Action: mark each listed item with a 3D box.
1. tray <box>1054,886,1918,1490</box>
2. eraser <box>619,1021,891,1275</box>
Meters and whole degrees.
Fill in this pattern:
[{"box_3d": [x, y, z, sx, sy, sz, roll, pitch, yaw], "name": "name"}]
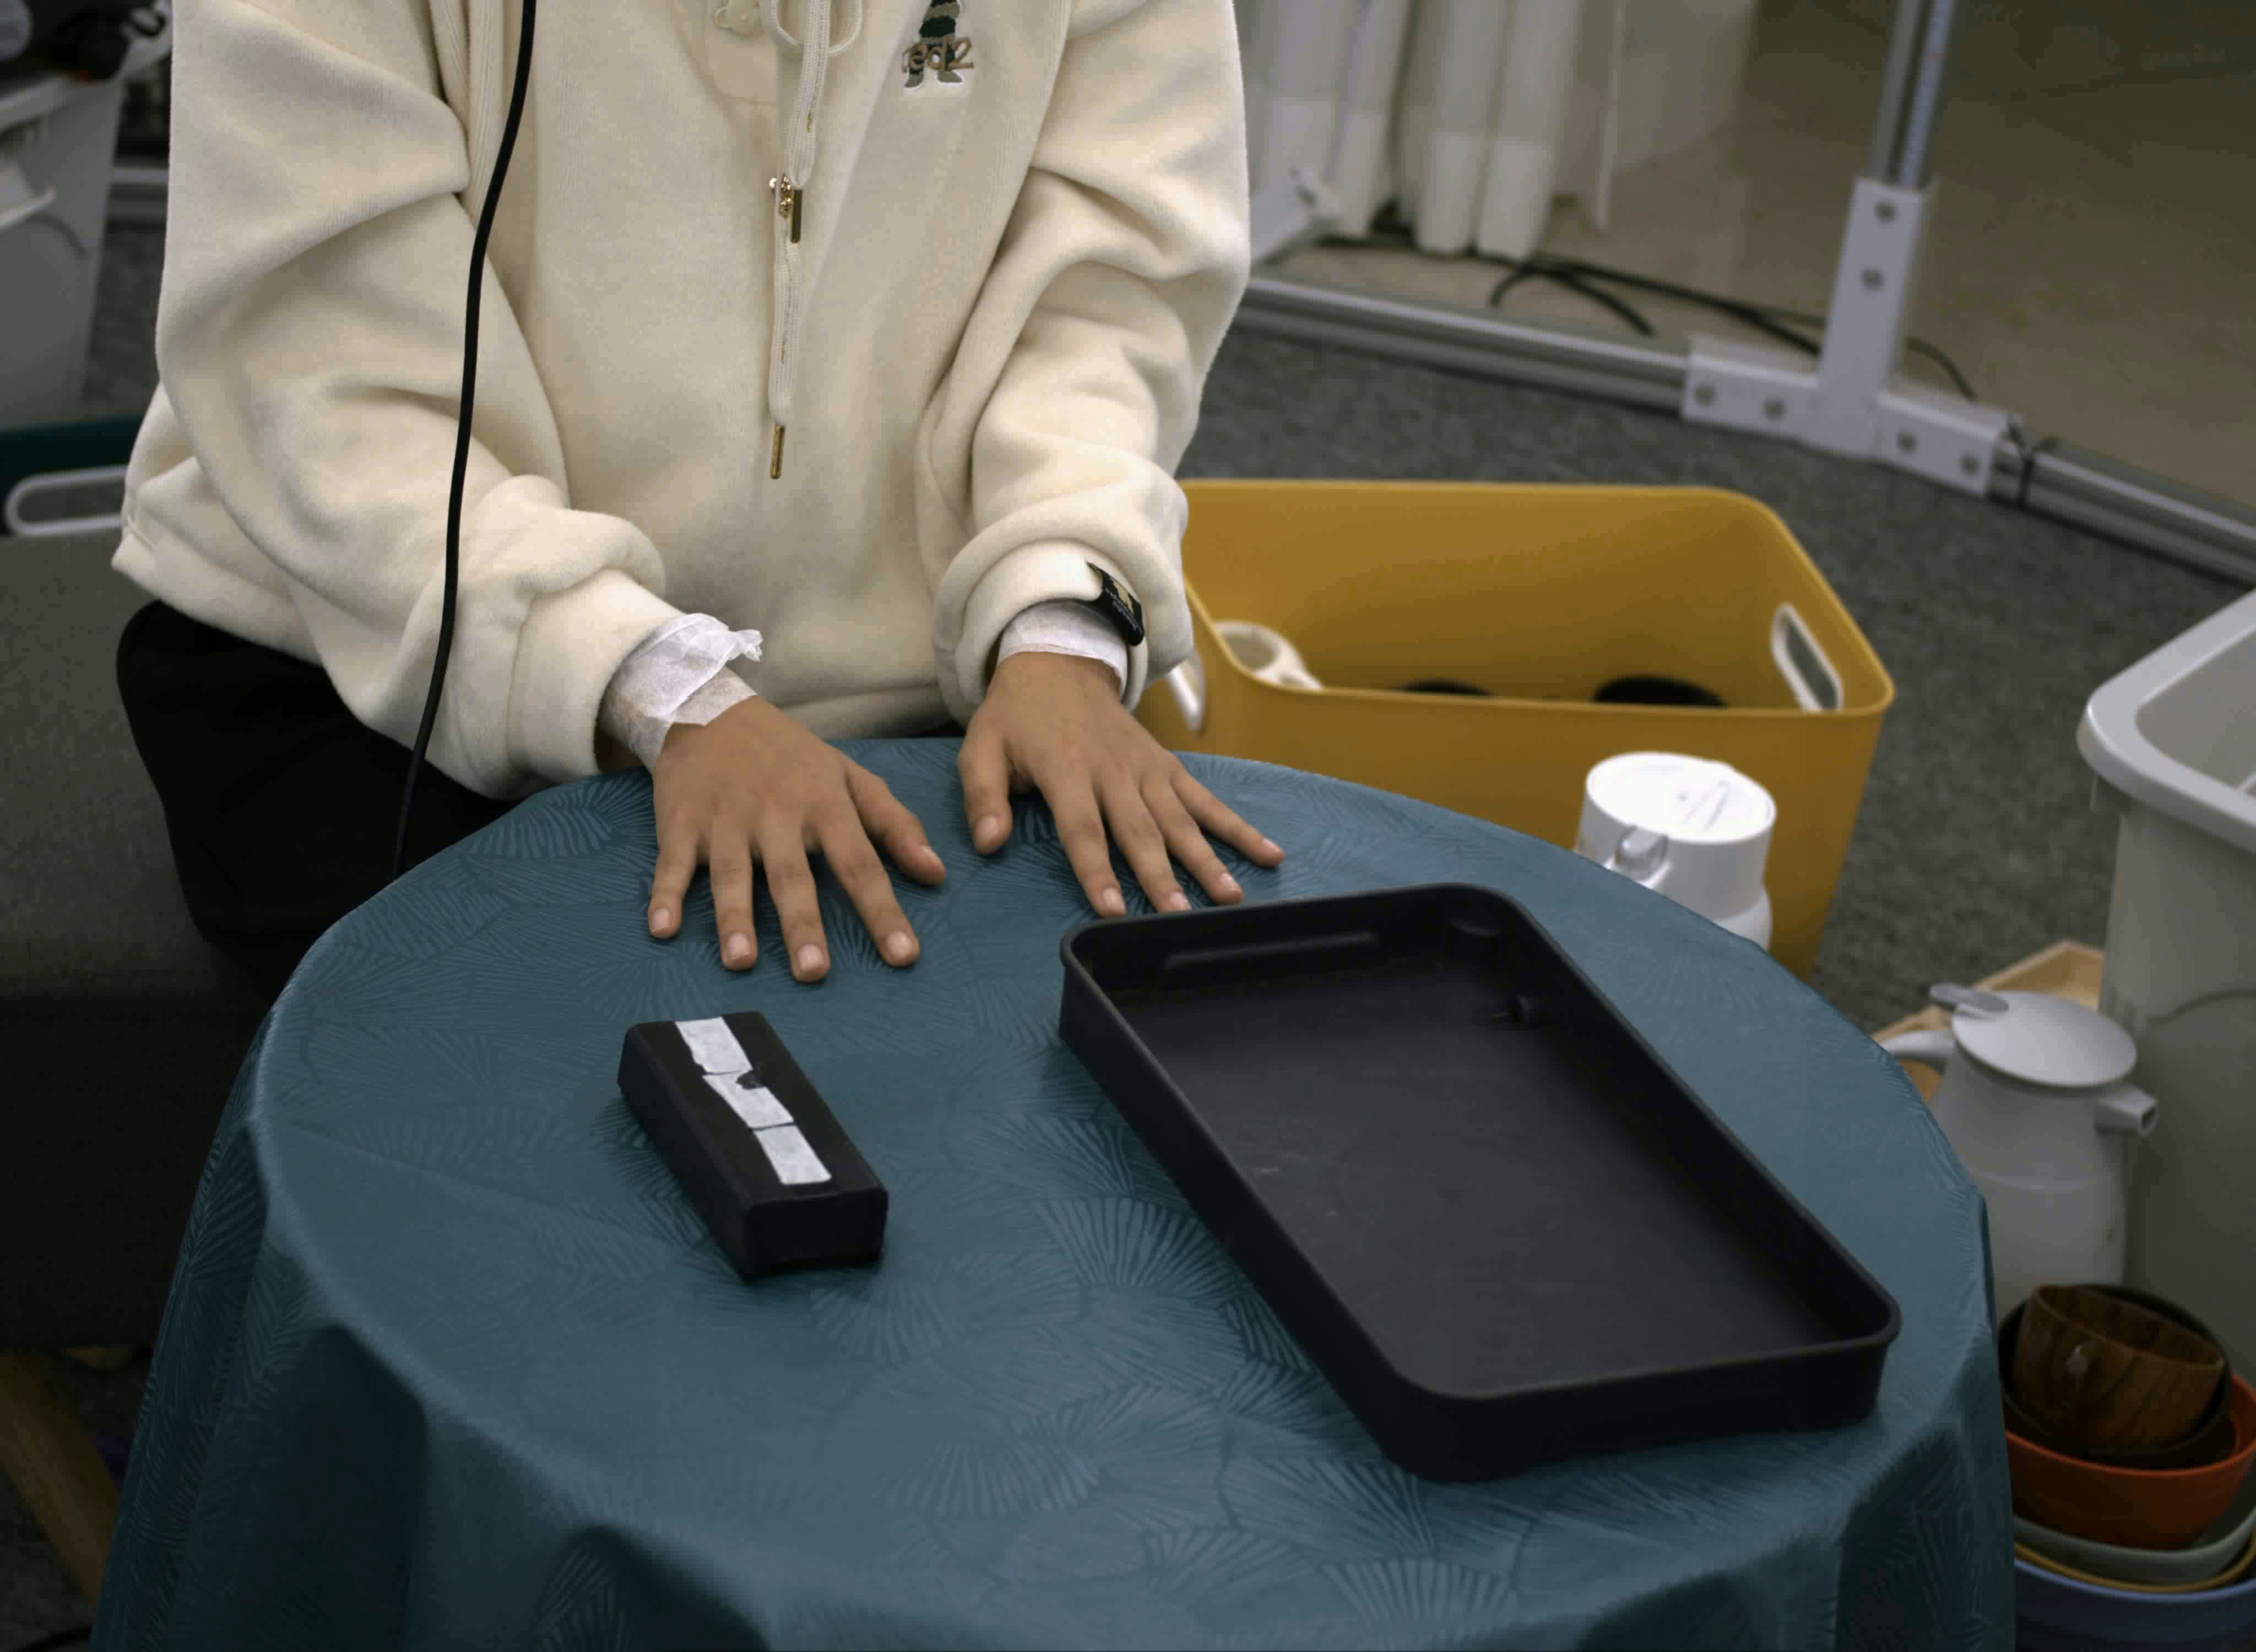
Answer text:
[{"box_3d": [0.113, 0.115, 1.802, 0.183, 0.037, 0.321, -6, 29, -24], "name": "tray"}, {"box_3d": [-0.126, 0.107, 1.777, 0.053, 0.030, 0.126, -2, 27, -25], "name": "eraser"}]
